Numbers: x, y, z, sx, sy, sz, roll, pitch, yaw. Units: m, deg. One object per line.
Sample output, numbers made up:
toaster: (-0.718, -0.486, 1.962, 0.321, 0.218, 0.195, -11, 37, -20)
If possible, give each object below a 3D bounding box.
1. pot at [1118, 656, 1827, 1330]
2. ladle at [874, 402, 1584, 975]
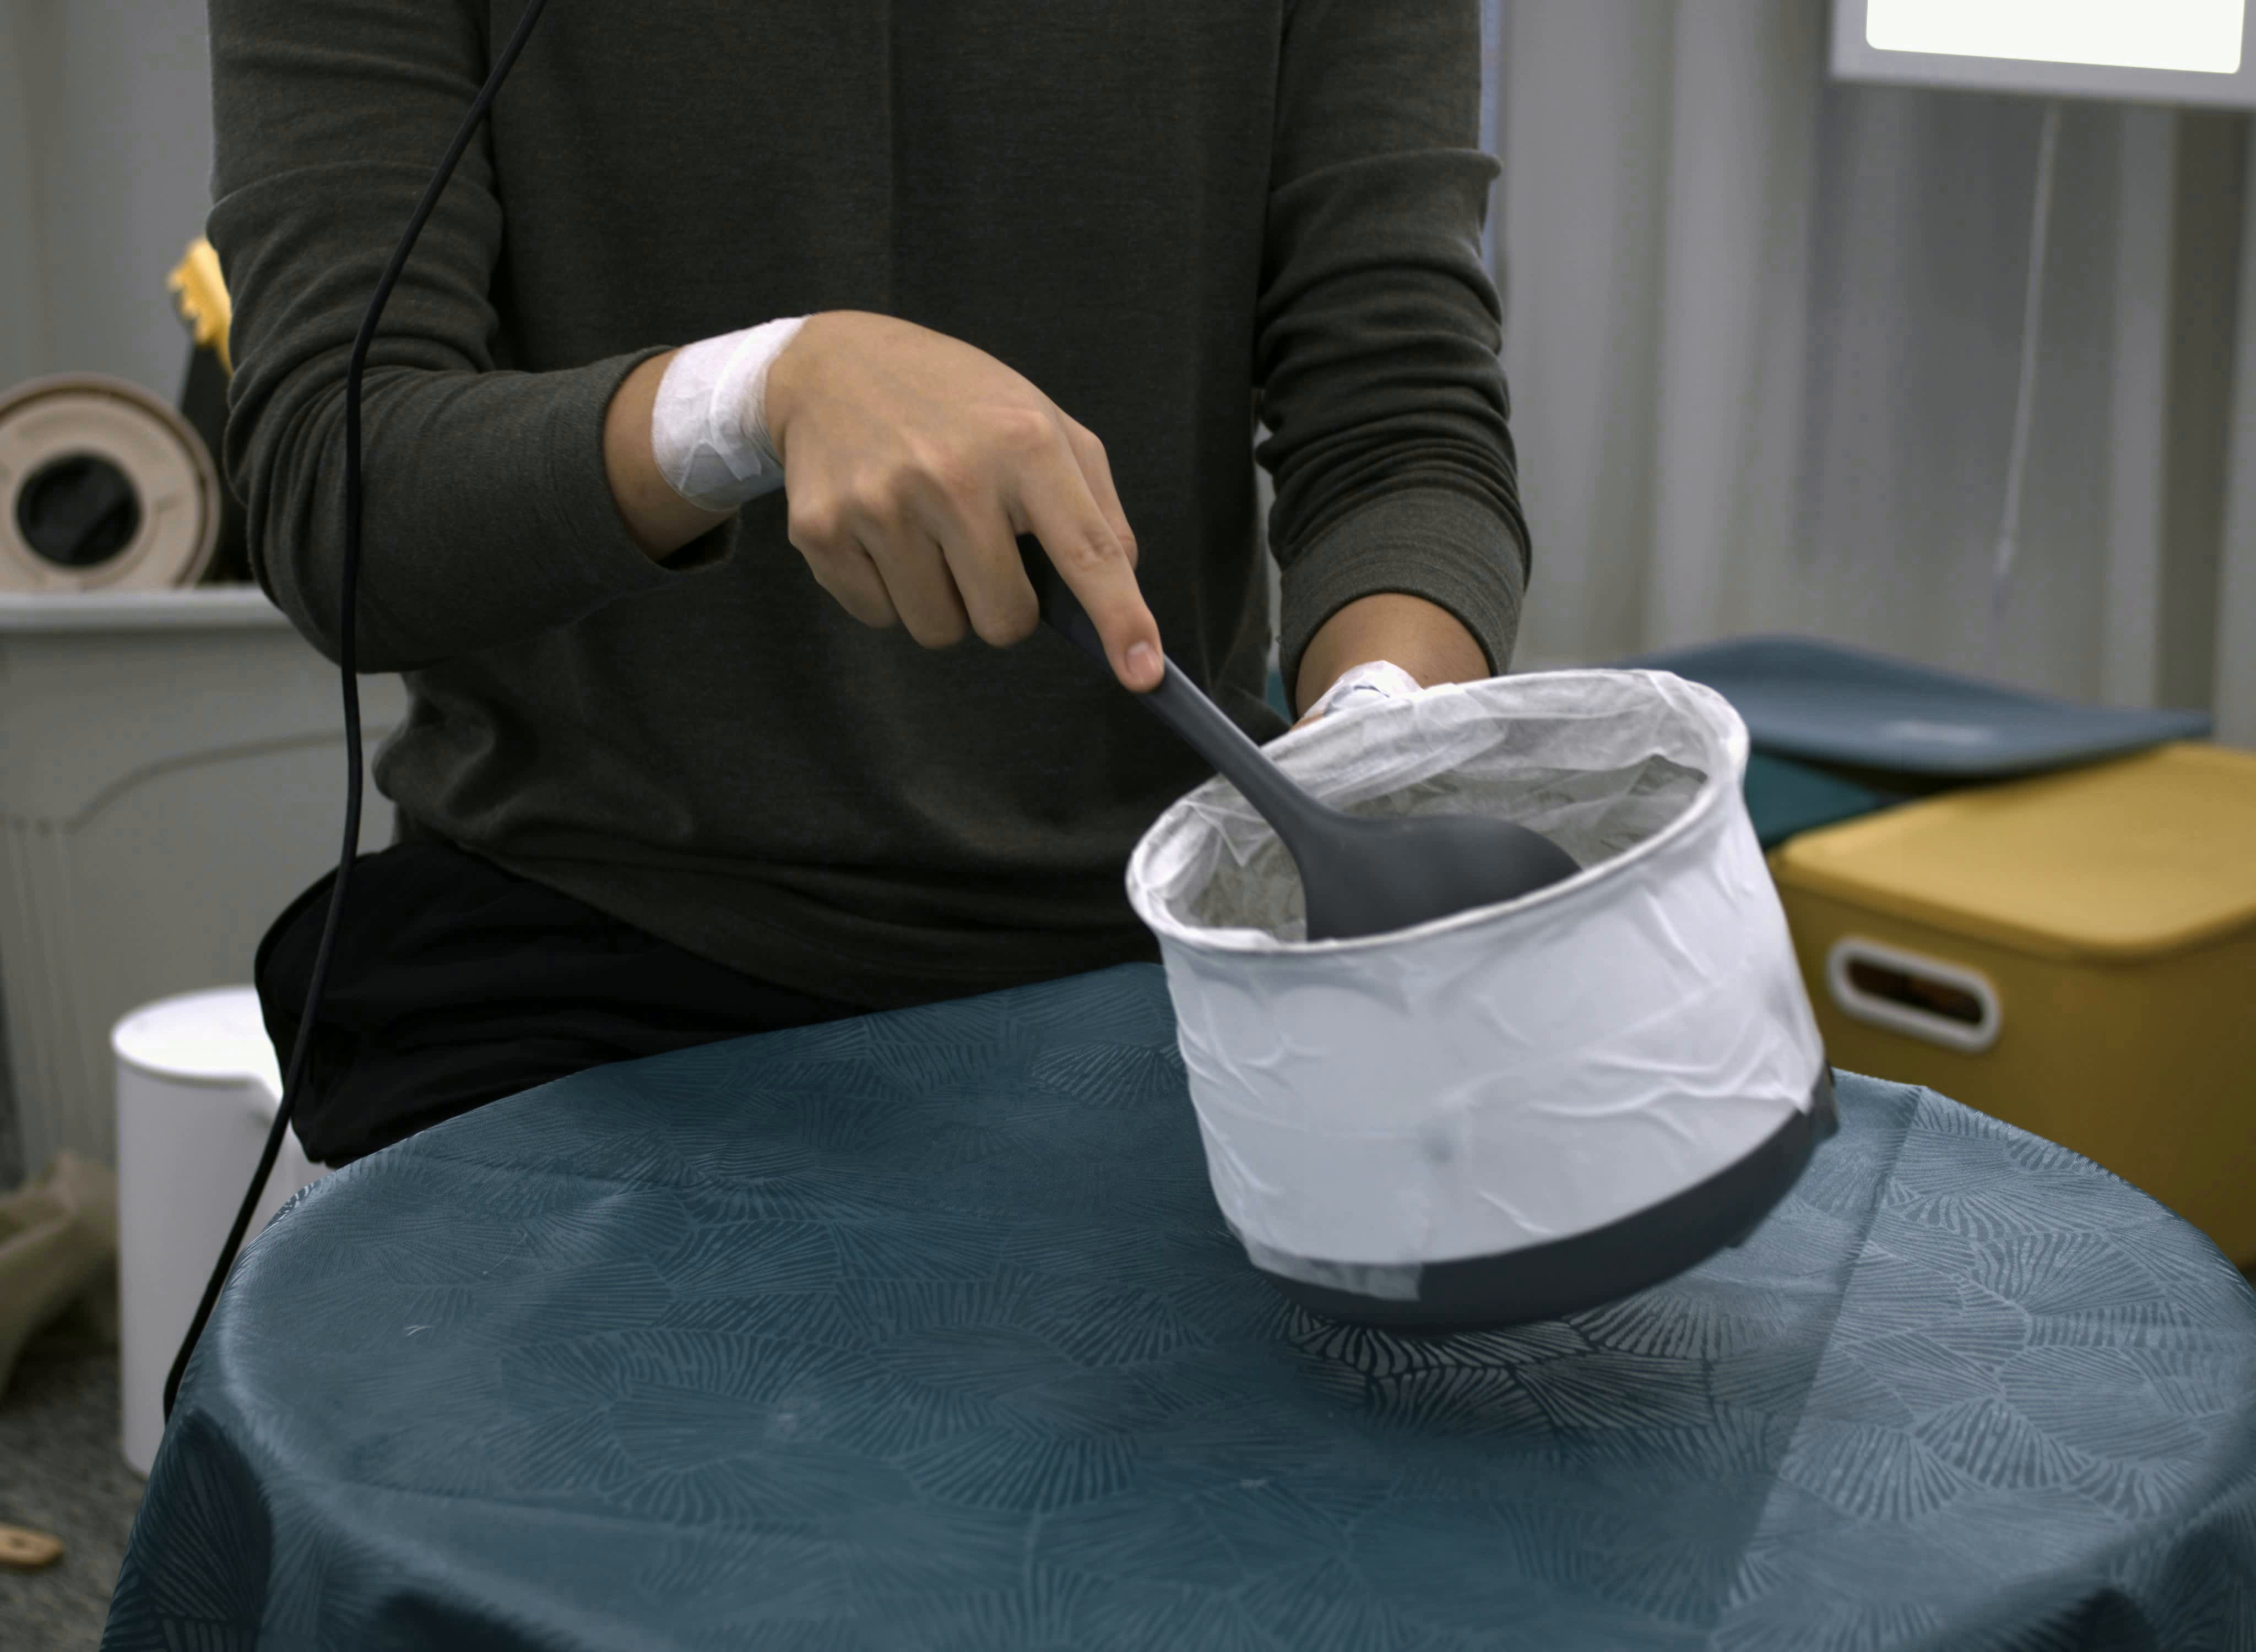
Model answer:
pot: (0.092, 0.038, 1.496, 0.178, 0.138, 0.231, -17, 21, -6)
ladle: (0.019, -0.039, 1.553, 0.086, 0.065, 0.309, -45, 48, -2)
